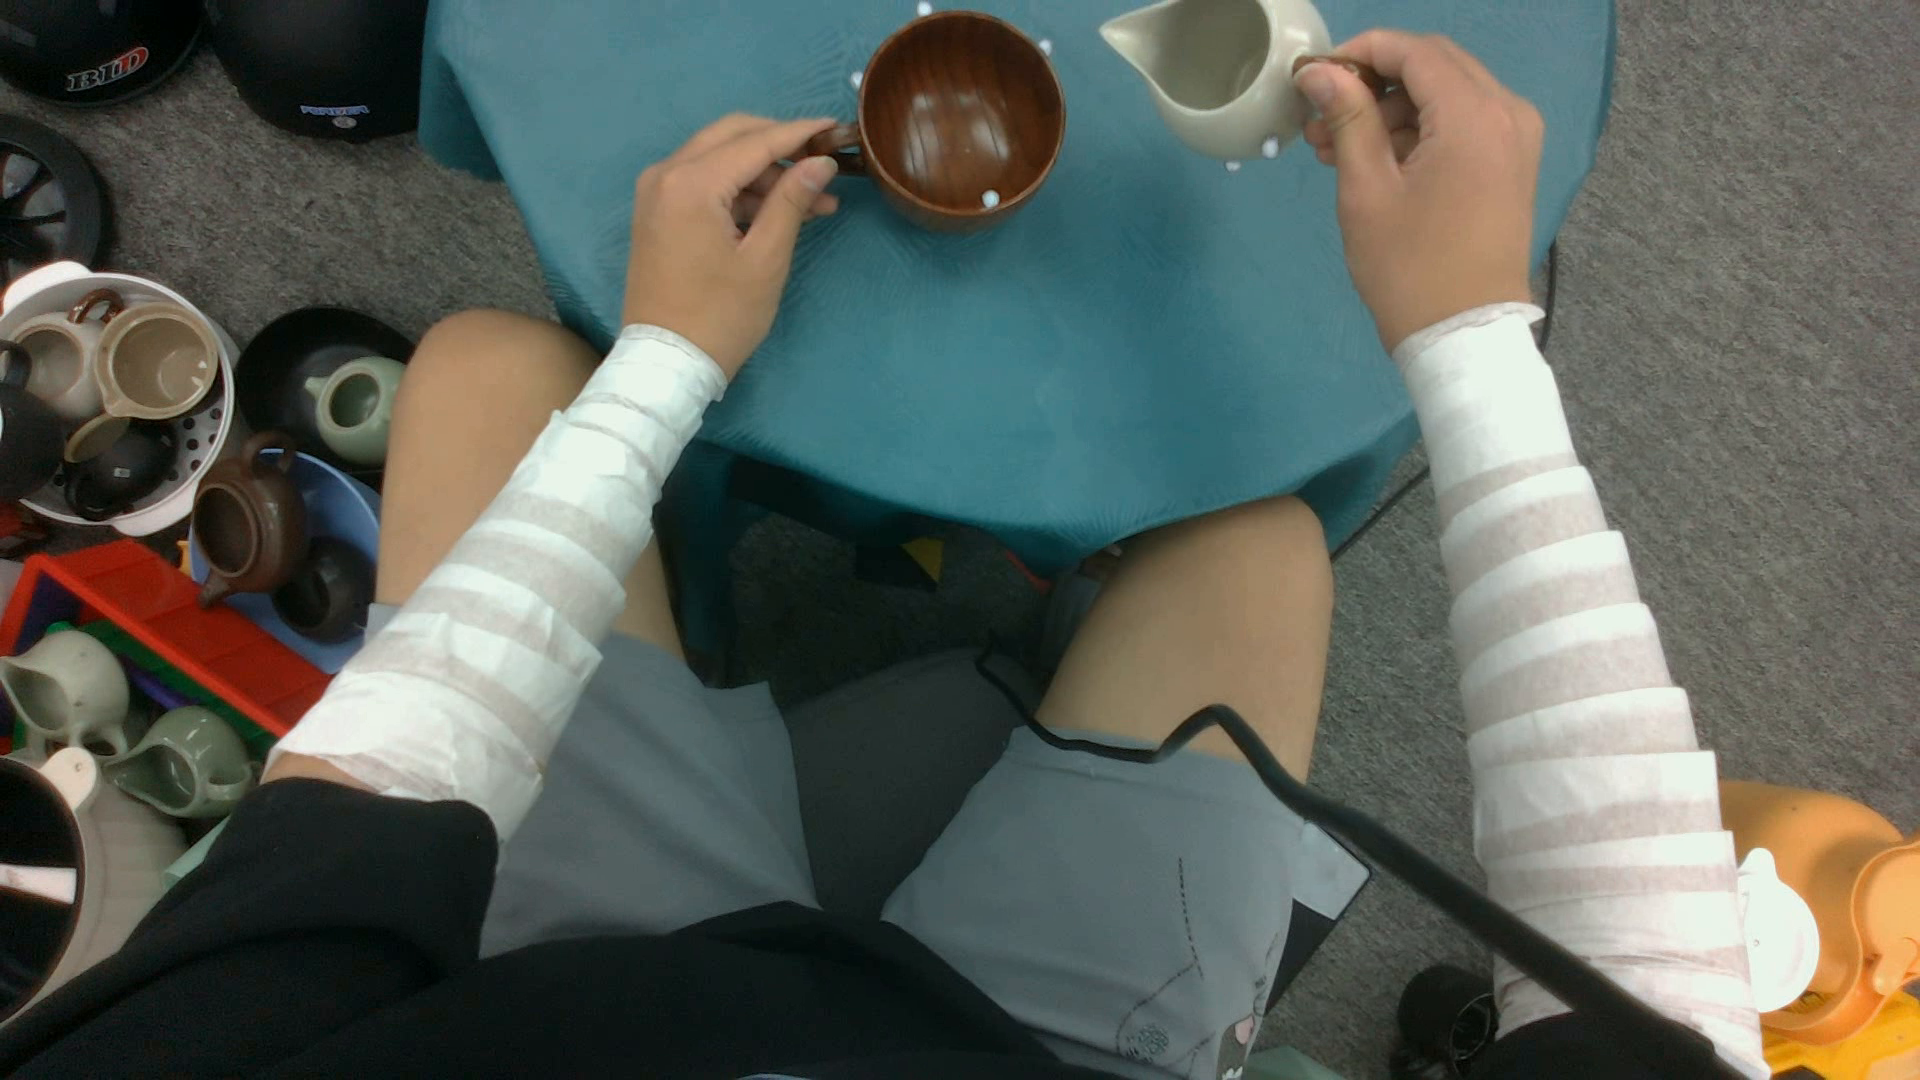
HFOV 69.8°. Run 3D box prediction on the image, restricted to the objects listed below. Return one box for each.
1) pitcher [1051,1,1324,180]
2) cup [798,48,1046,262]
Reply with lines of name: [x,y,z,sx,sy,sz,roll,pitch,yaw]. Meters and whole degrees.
pitcher: [0.113,-0.198,0.616,0.119,0.088,0.075,24,110,31]
cup: [-0.021,-0.178,0.671,0.119,0.067,0.096,-15,88,-6]
